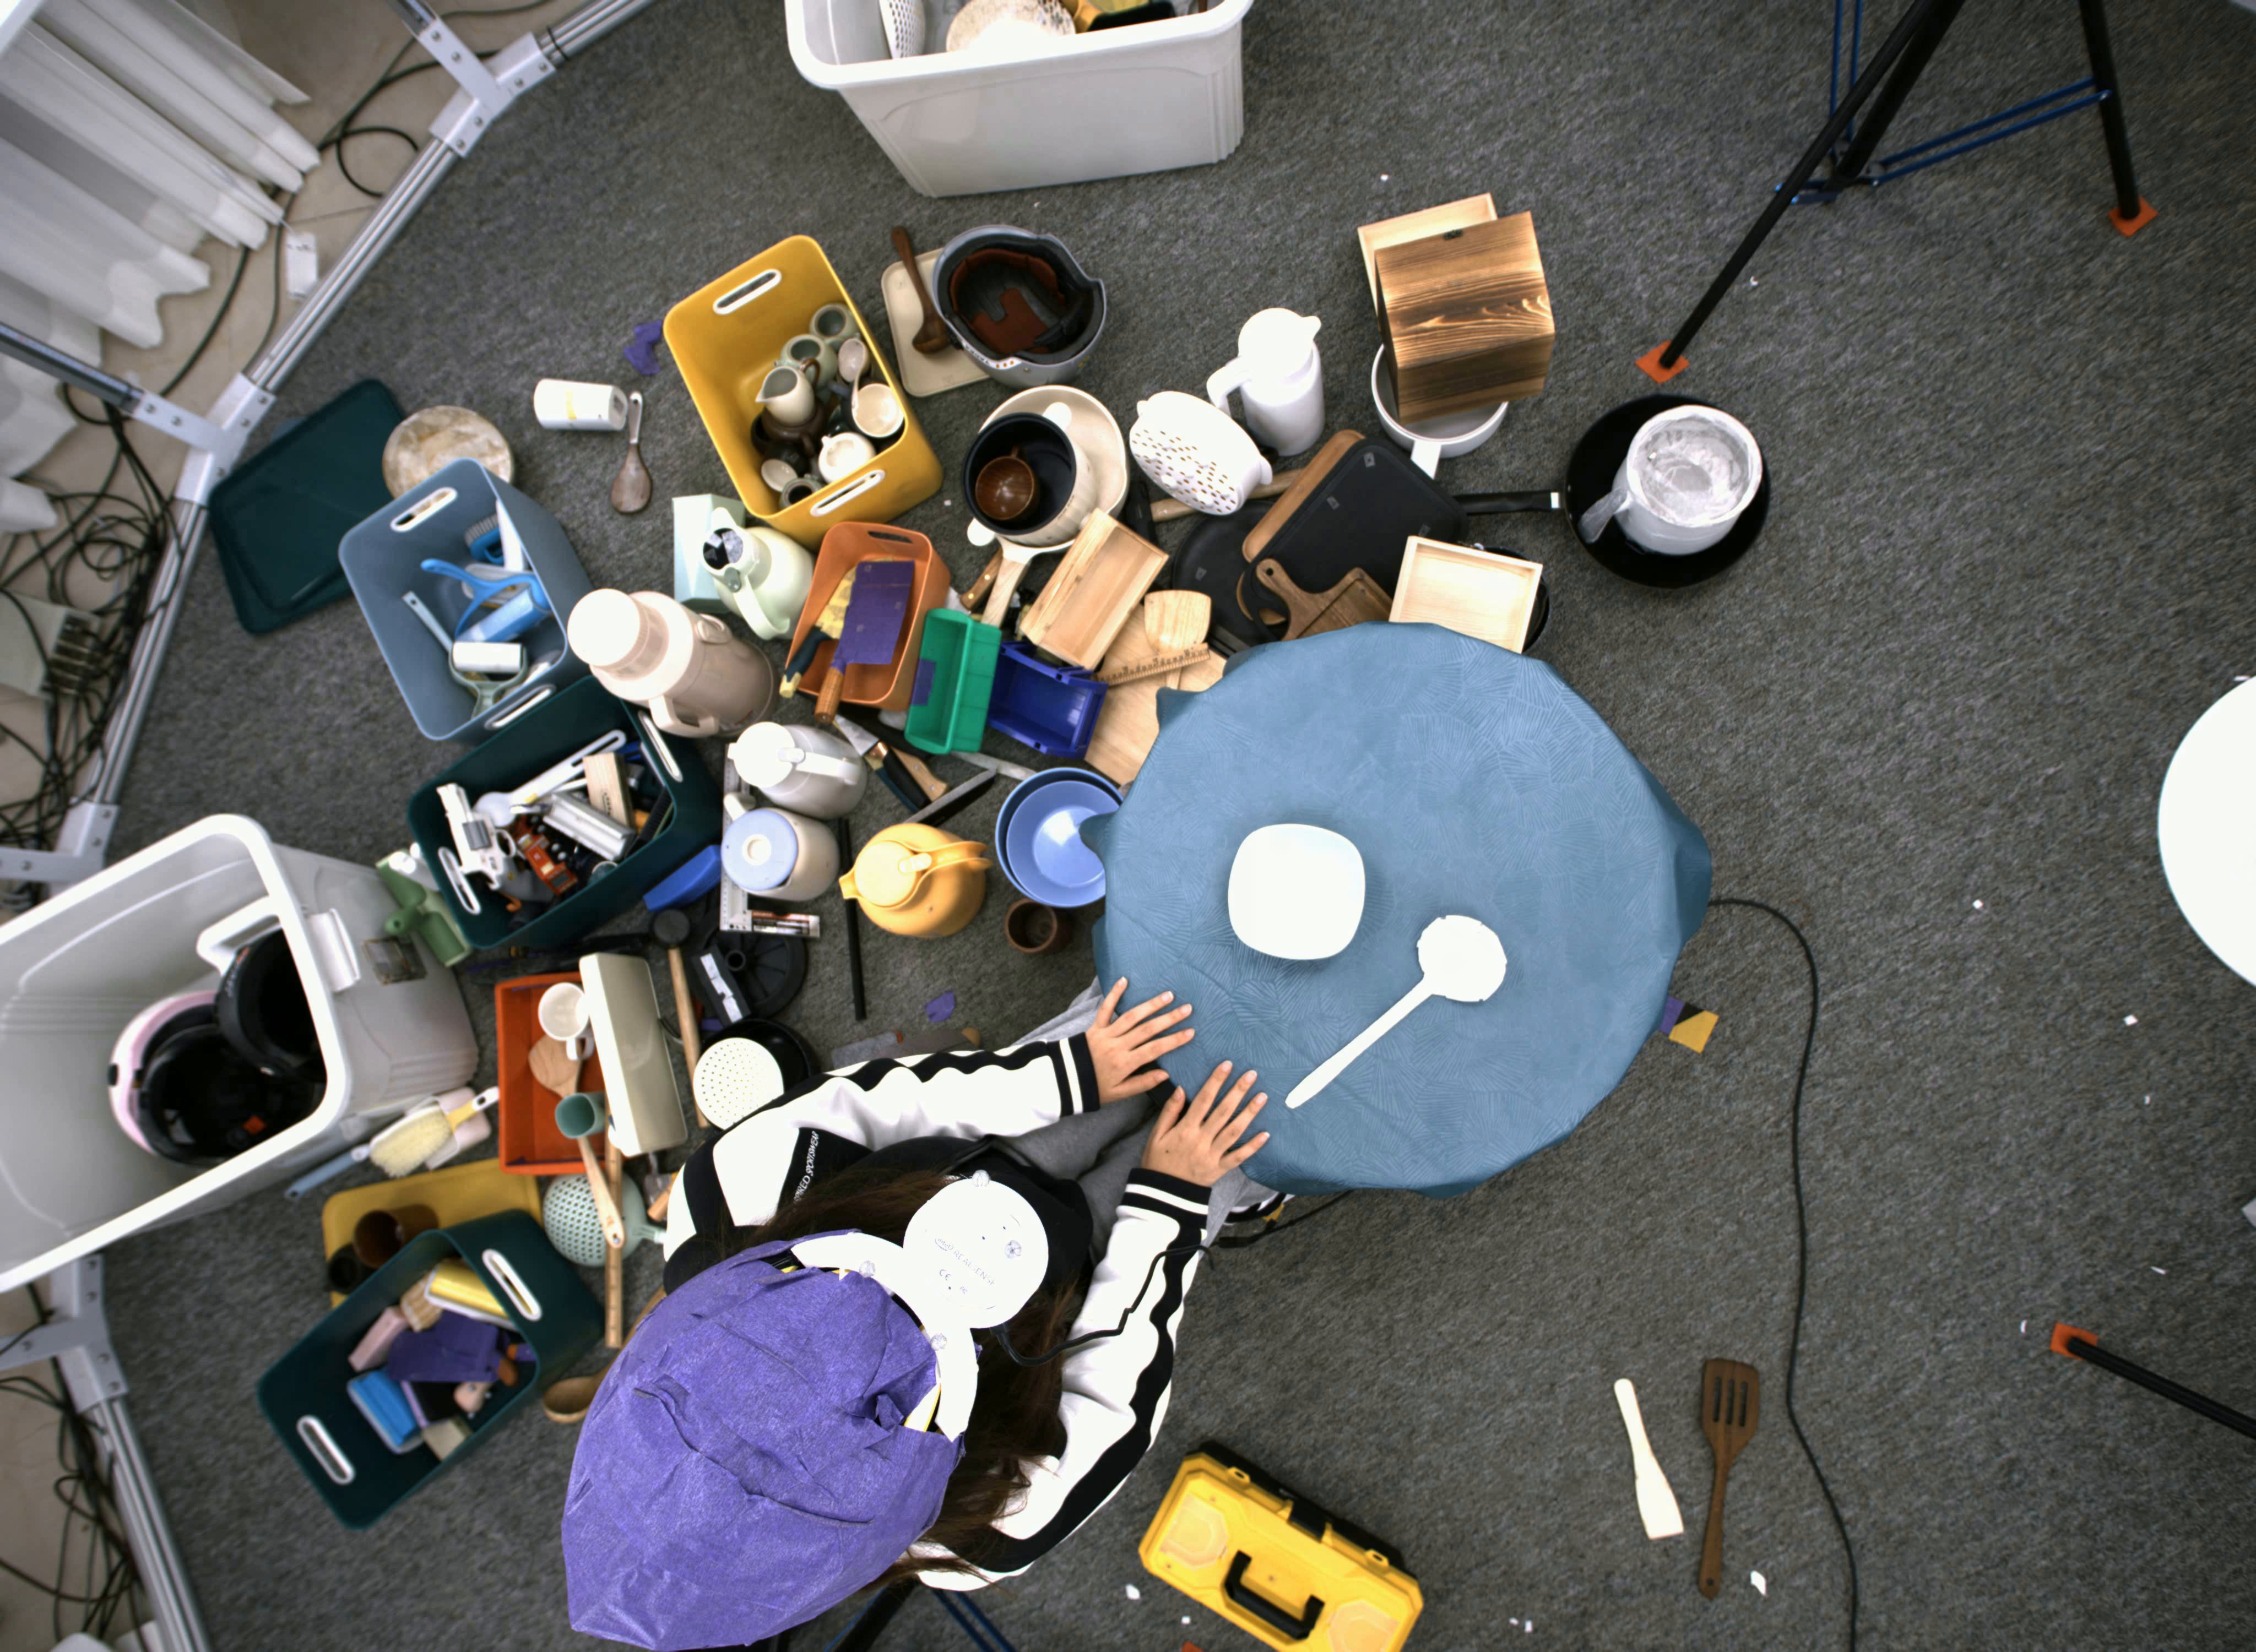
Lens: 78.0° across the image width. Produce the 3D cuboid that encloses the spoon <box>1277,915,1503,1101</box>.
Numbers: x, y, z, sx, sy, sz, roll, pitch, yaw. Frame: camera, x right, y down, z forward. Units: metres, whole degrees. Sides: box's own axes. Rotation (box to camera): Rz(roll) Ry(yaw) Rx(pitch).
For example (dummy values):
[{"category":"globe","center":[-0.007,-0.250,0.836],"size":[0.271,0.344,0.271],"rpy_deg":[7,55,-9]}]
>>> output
[{"category":"spoon","center":[0.261,0.193,1.426],"size":[0.279,0.059,0.100],"rpy_deg":[-38,76,6]}]

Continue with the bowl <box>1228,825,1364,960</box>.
[{"category":"bowl","center":[0.177,0.070,1.451],"size":[0.152,0.058,0.151],"rpy_deg":[-1,86,11]}]
